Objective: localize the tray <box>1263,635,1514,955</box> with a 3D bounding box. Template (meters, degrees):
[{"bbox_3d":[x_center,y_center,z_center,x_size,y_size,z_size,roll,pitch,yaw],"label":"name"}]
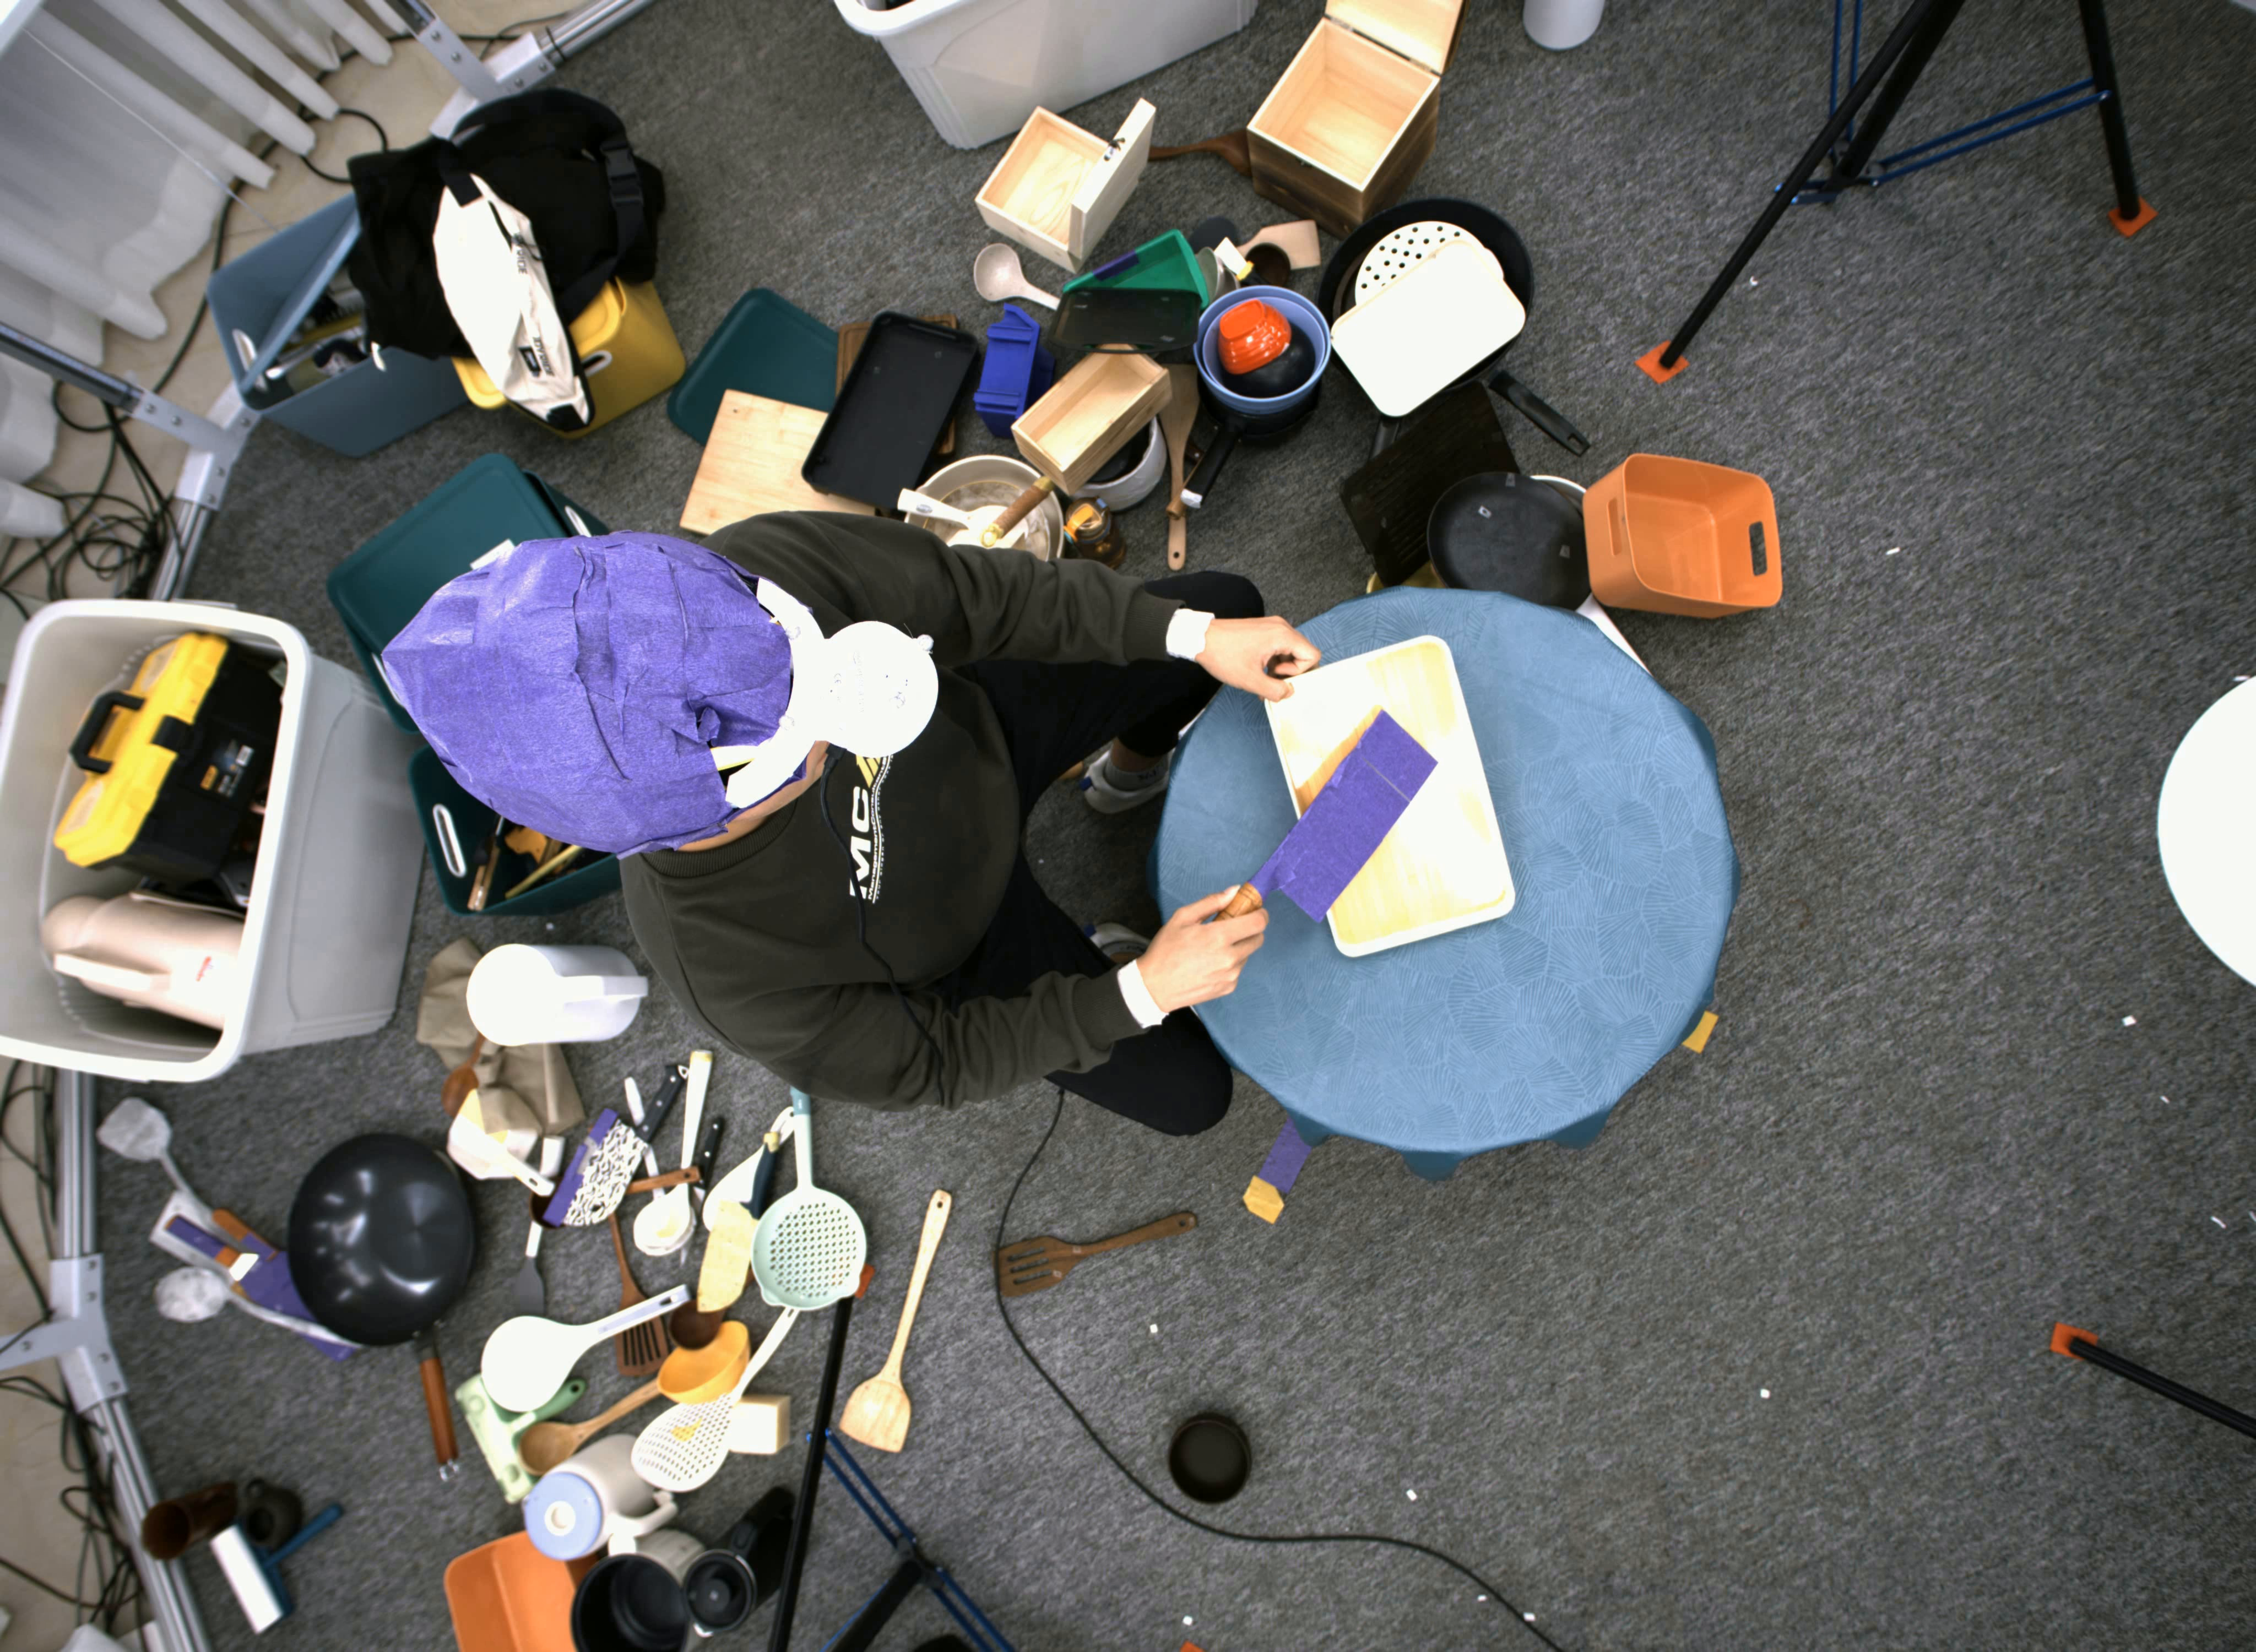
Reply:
[{"bbox_3d":[0.266,-0.030,1.403,0.193,0.027,0.303,-16,104,9],"label":"tray"}]

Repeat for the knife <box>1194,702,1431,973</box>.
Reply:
[{"bbox_3d":[0.190,0.029,1.362,0.104,0.032,0.314,38,88,-22],"label":"knife"}]
